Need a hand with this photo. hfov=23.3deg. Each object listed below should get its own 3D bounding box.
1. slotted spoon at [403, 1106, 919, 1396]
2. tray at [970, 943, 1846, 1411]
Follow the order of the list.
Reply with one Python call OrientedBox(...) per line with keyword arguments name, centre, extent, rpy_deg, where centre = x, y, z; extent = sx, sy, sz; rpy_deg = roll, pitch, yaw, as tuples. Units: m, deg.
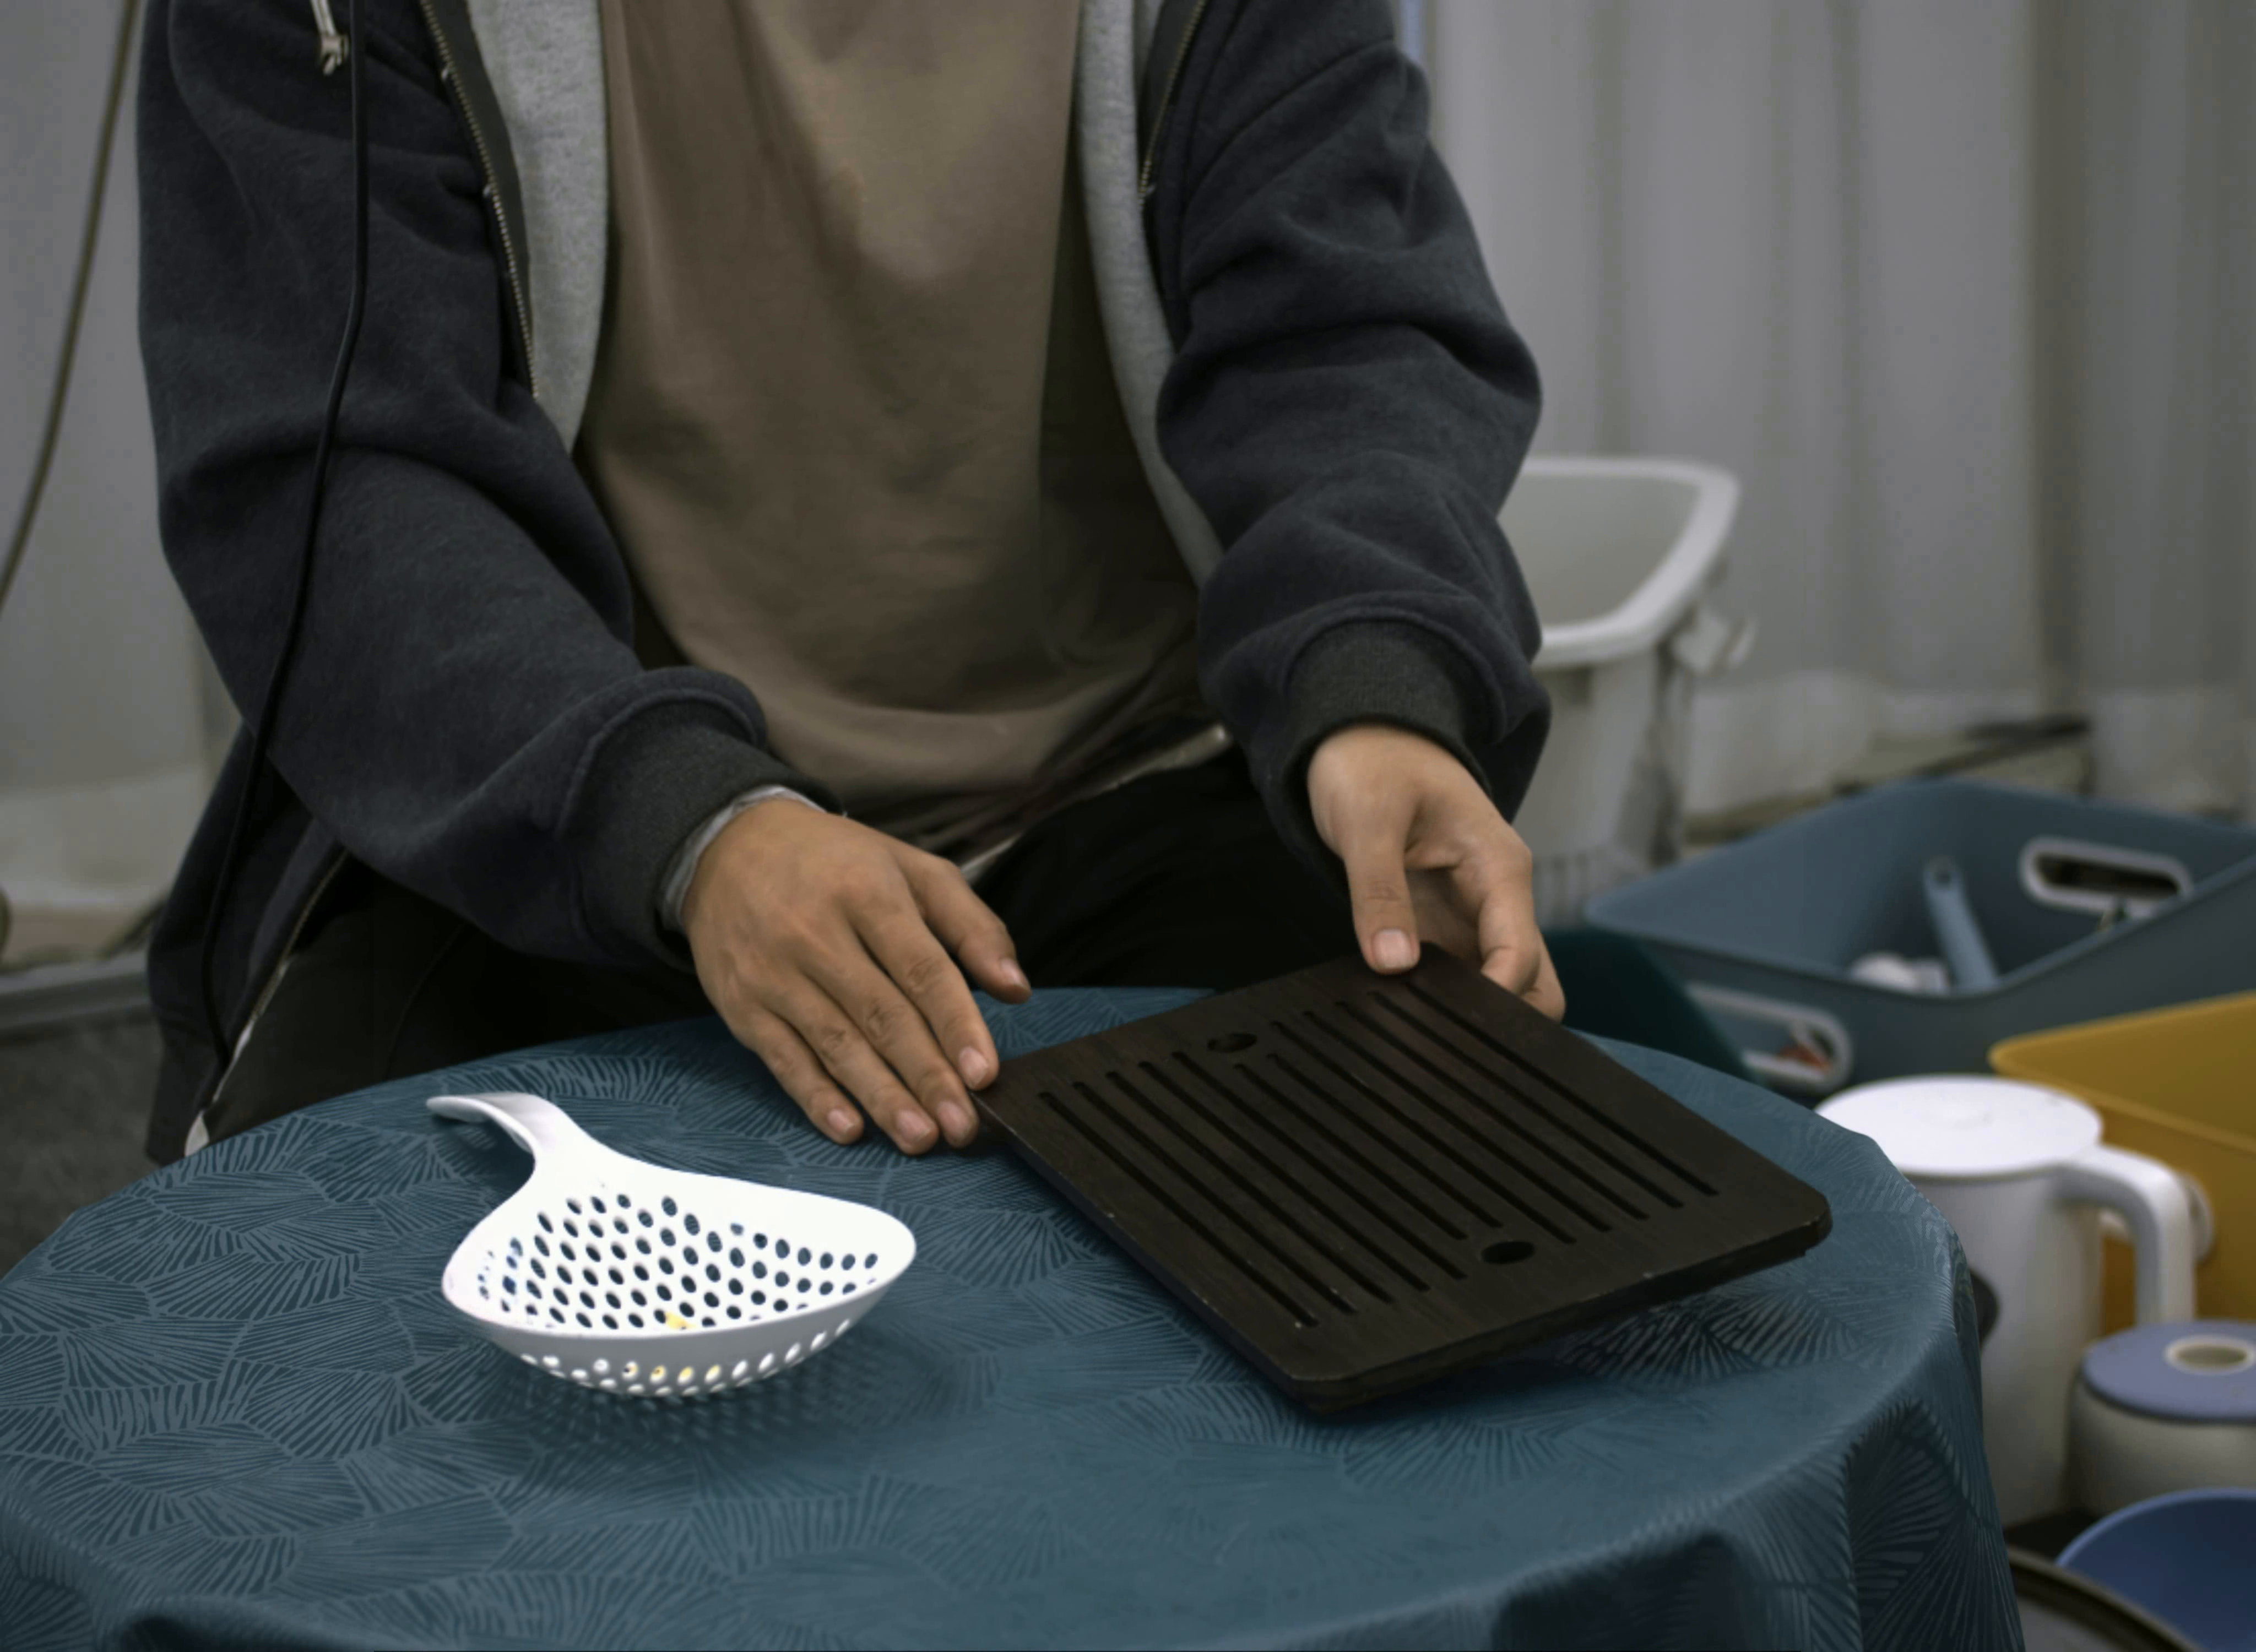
OrientedBox(name="slotted spoon", centre=(-0.167, 0.115, 1.667), extent=(0.136, 0.050, 0.351), rpy_deg=(-10, 17, -19))
OrientedBox(name="tray", centre=(0.077, 0.102, 1.664), extent=(0.169, 0.018, 0.308), rpy_deg=(-16, 19, -17))
